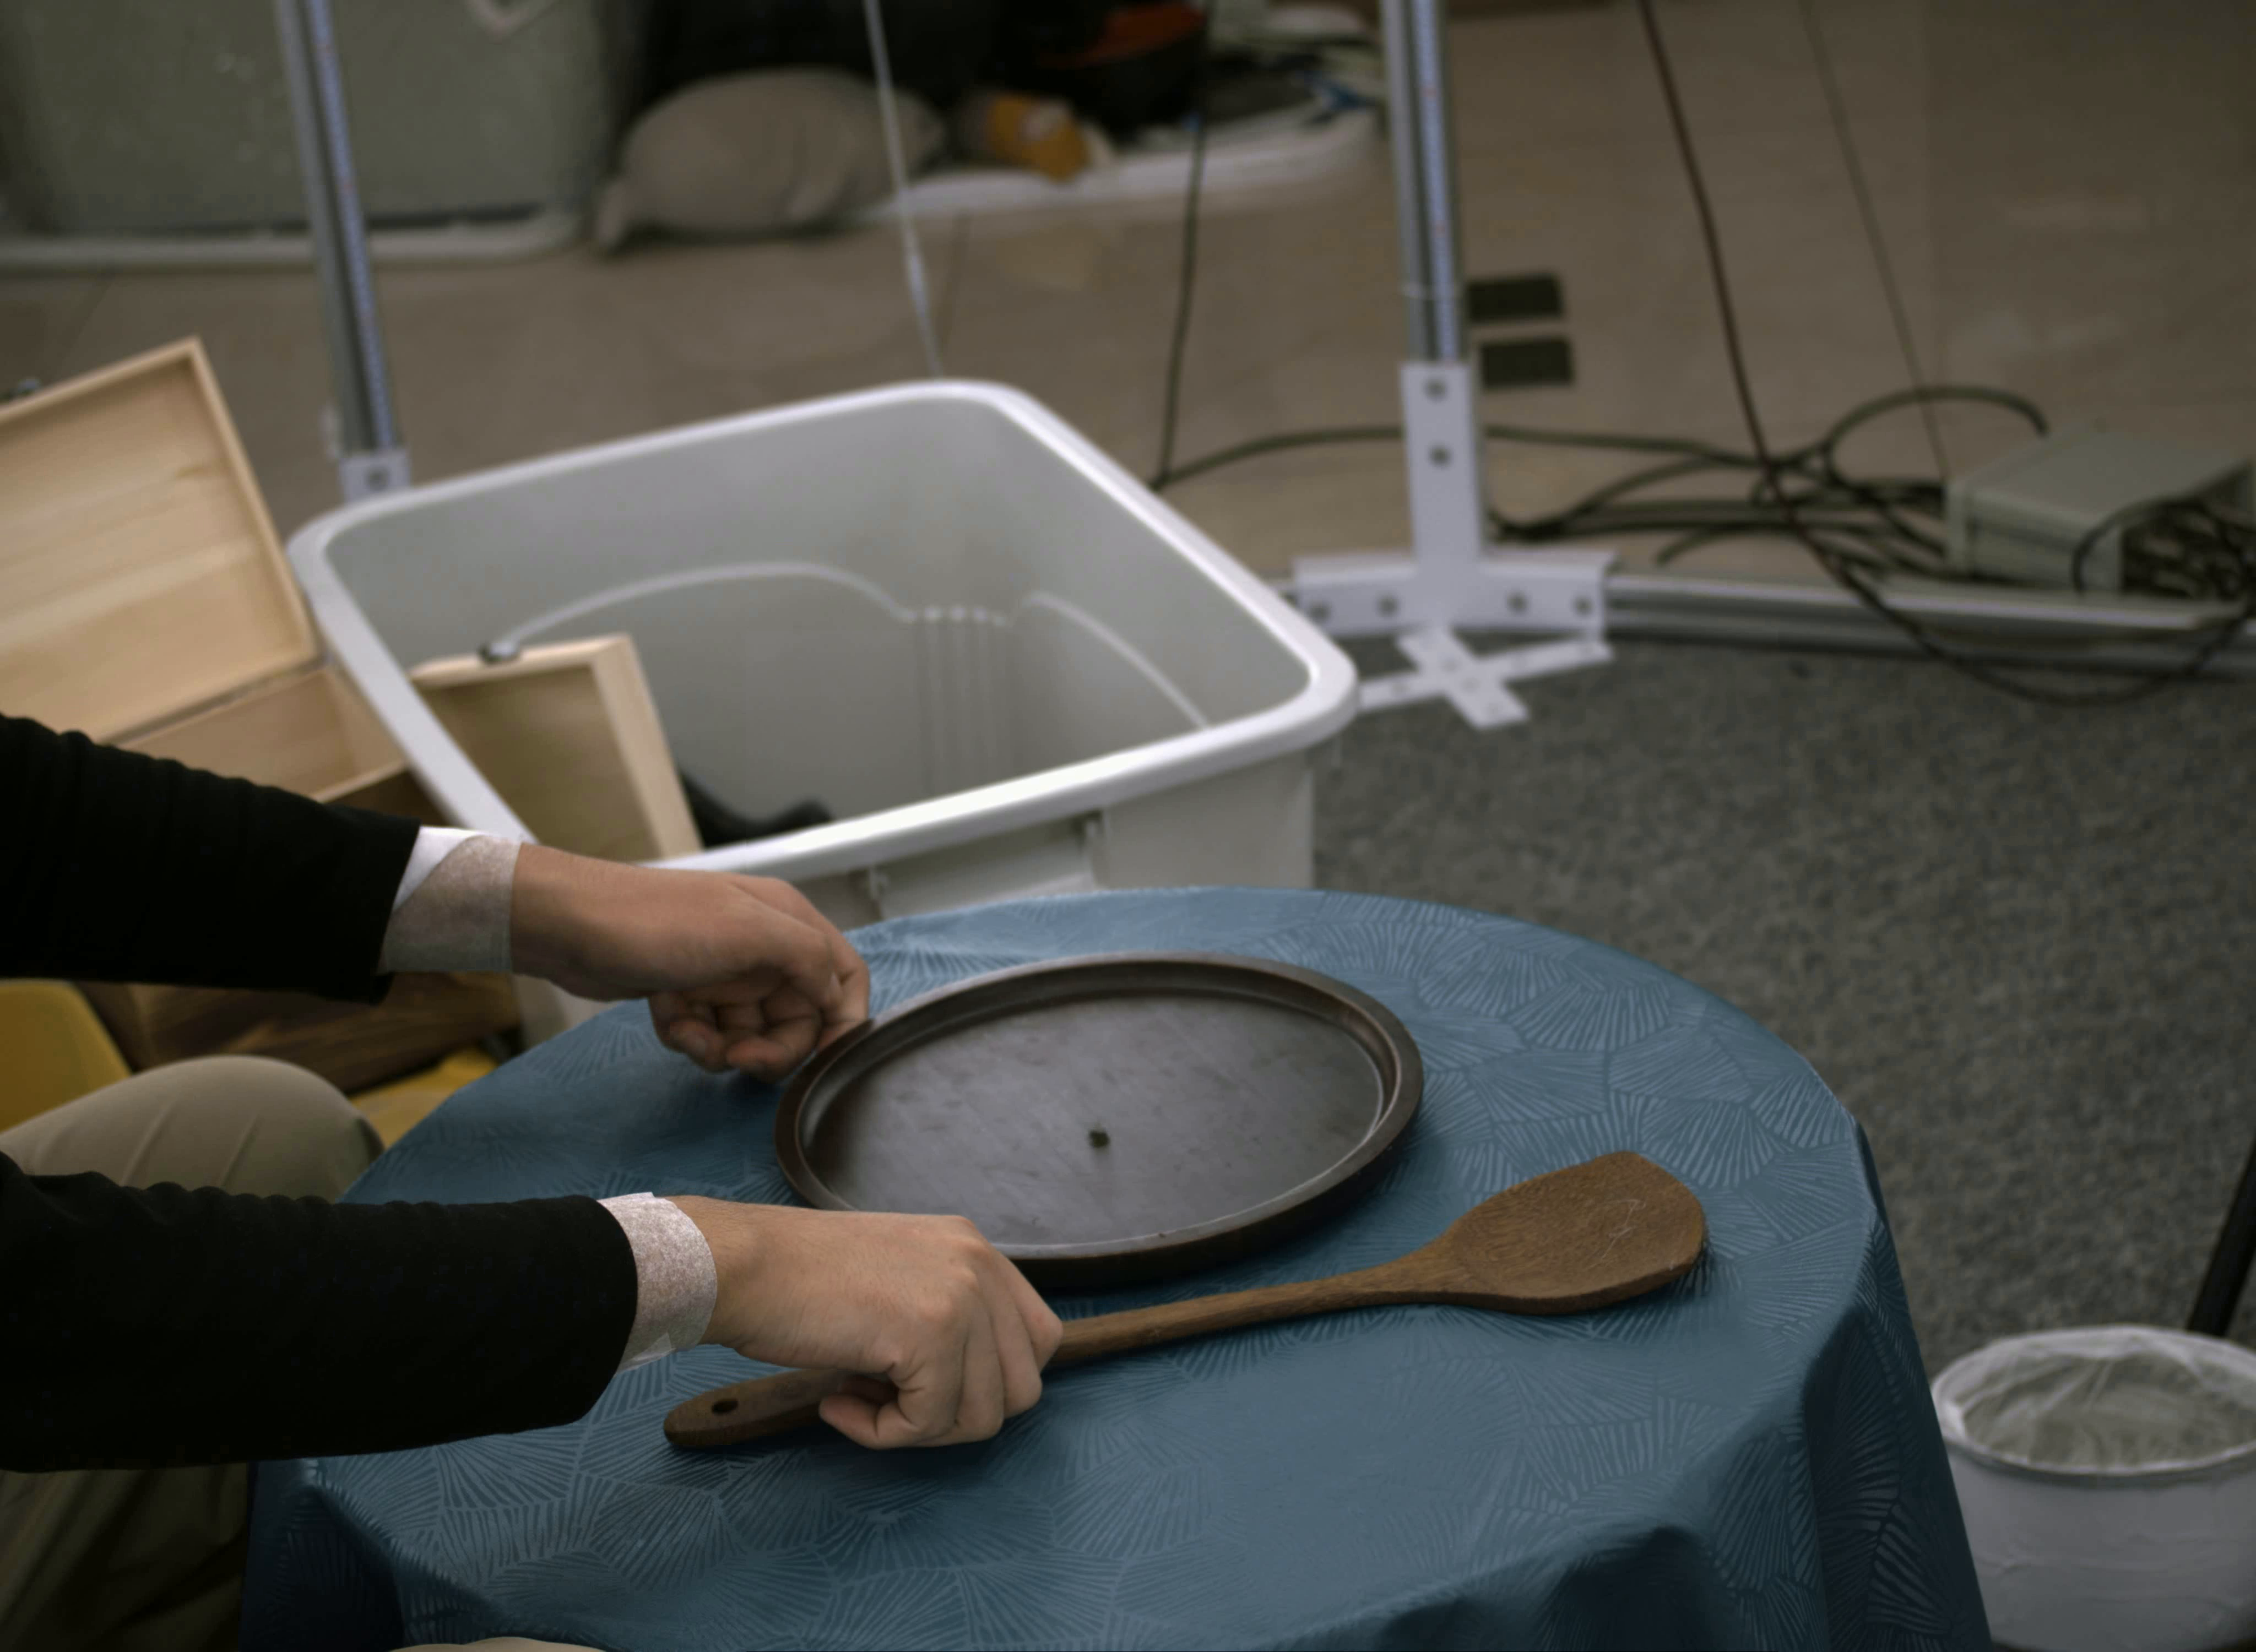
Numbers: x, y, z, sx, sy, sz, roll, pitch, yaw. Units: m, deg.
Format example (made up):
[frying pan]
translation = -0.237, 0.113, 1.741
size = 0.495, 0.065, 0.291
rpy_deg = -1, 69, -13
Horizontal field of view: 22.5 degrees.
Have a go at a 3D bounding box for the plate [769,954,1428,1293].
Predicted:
[plate]
translation = -0.010, 0.112, 2.179
size = 0.254, 0.029, 0.251
rpy_deg = -4, 26, 2

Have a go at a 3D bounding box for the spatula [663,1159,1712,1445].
[spatula]
translation = 0.022, 0.176, 2.041
size = 0.385, 0.016, 0.095
rpy_deg = -10, 25, -10
